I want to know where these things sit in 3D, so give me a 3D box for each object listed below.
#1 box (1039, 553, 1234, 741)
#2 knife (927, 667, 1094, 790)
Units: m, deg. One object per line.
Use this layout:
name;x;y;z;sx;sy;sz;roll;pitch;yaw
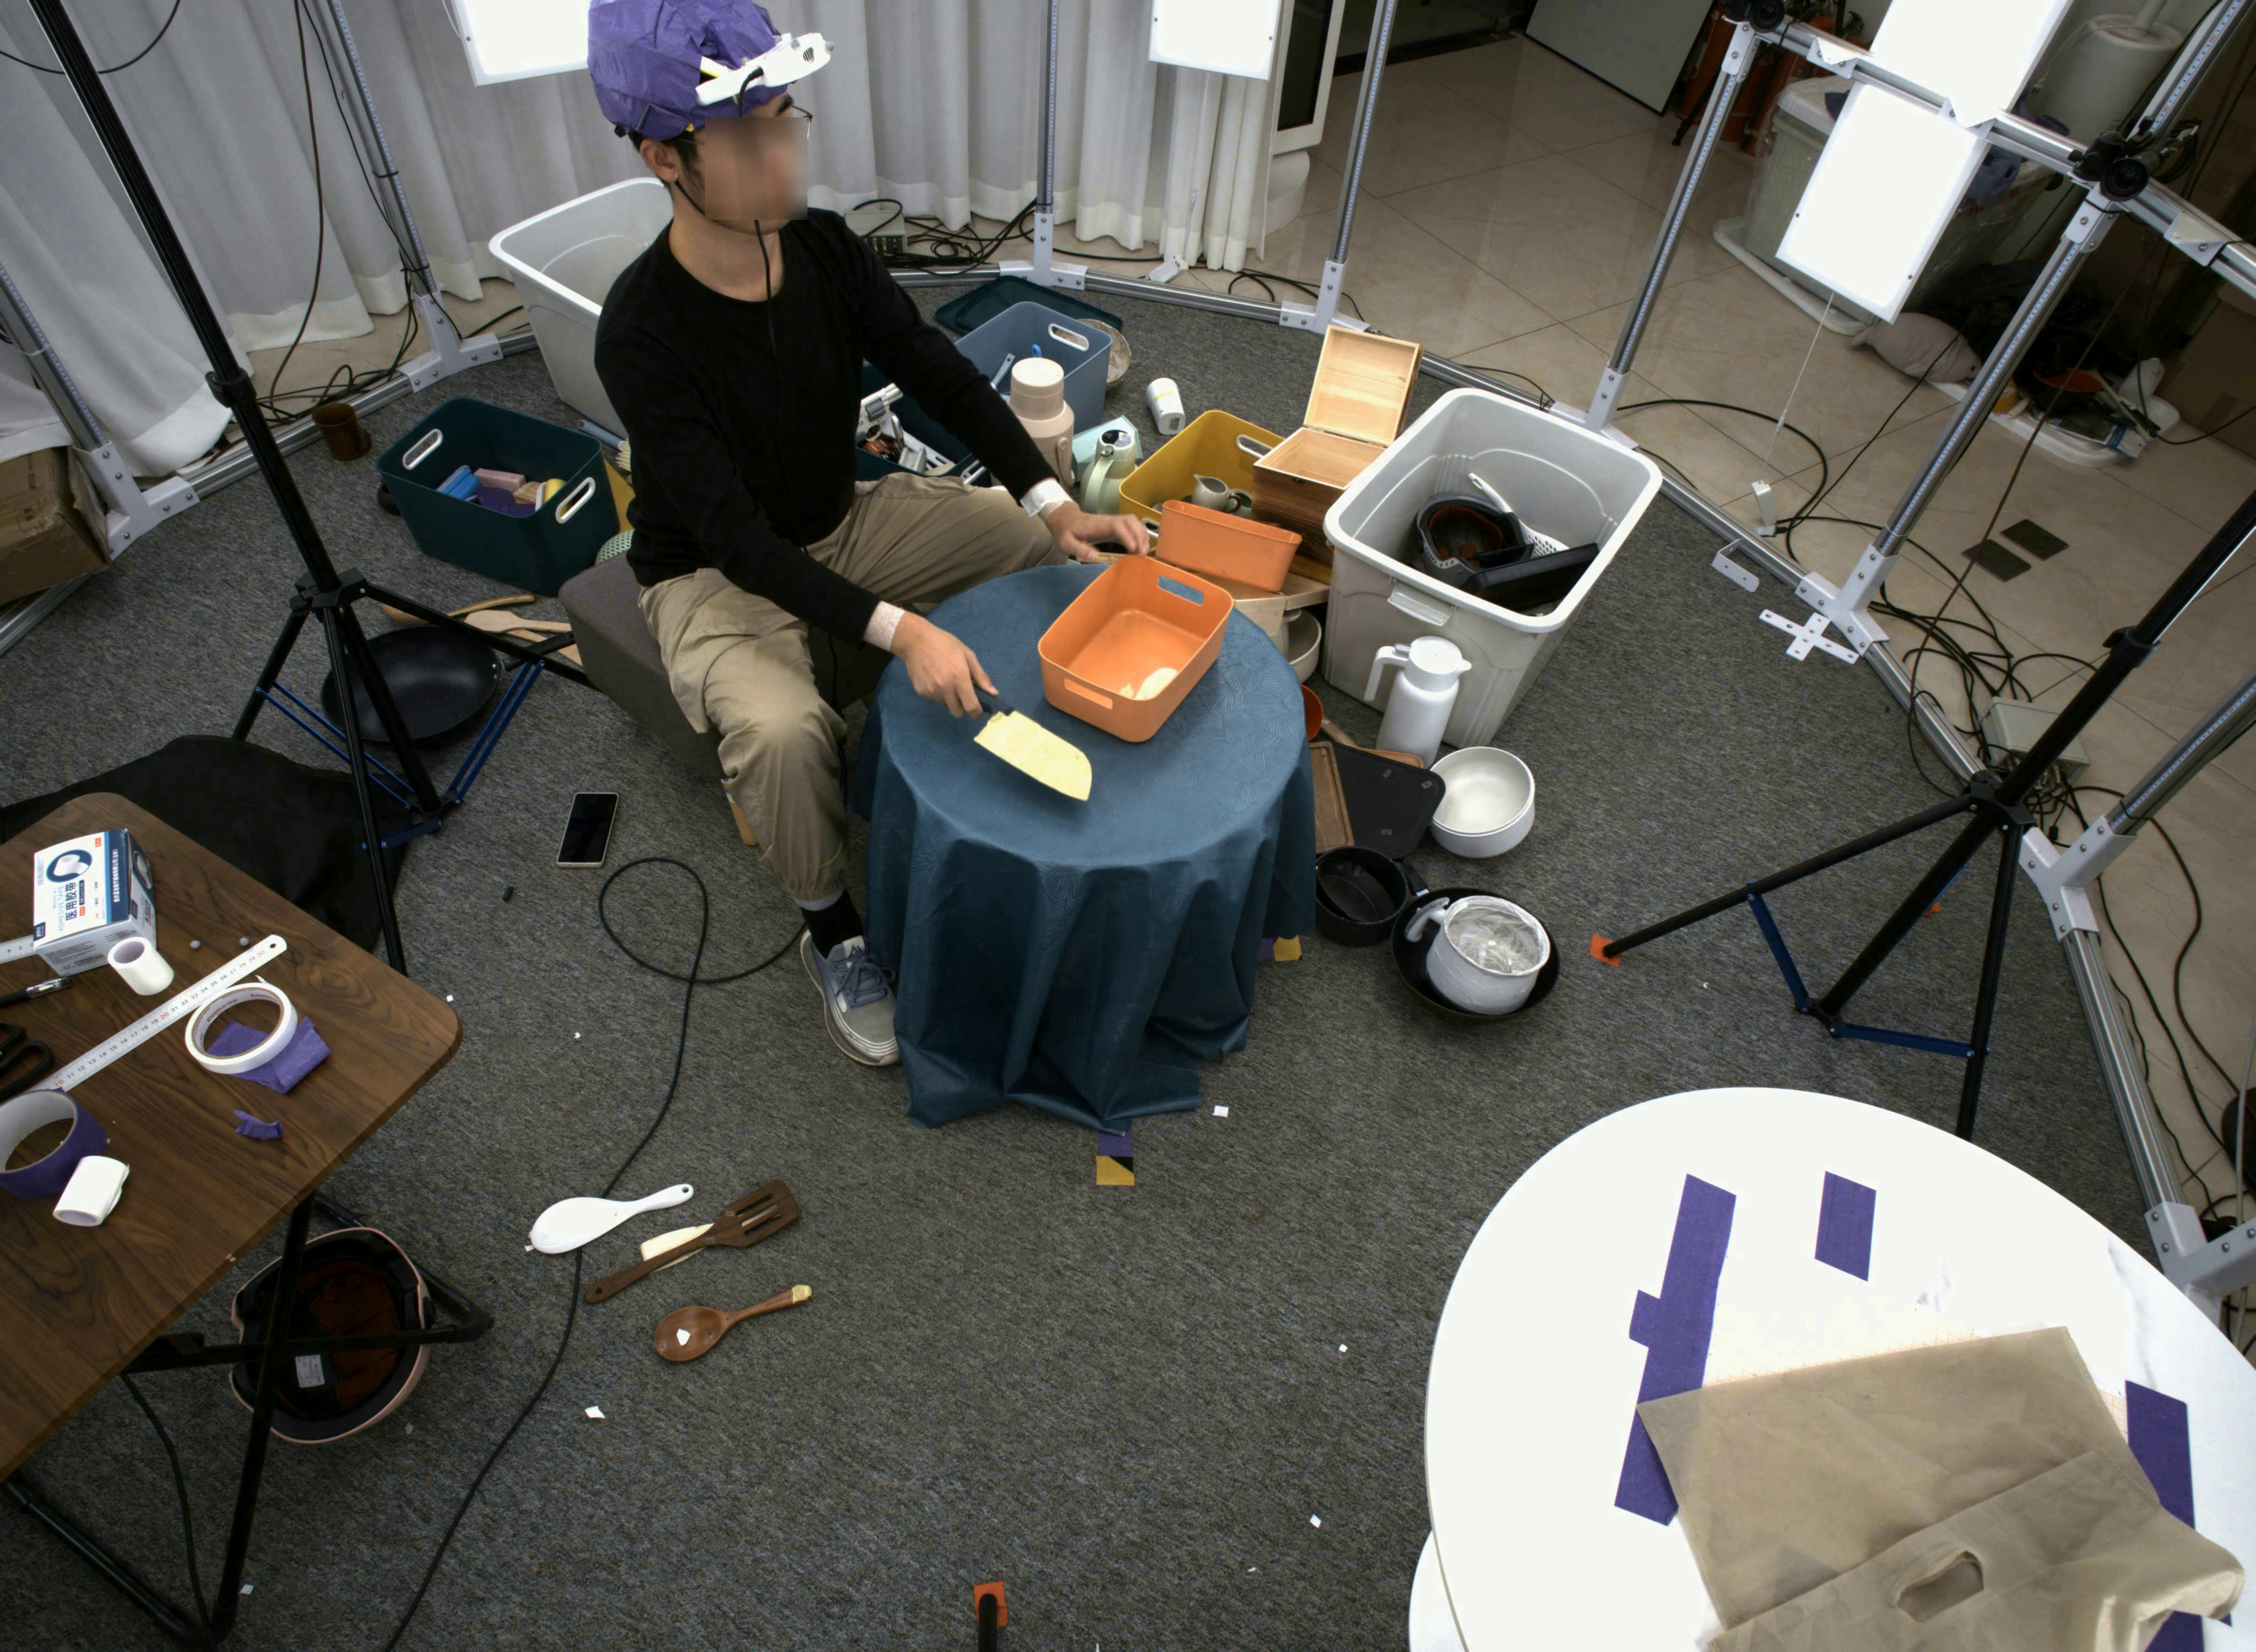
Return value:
box;0.010;-0.252;1.823;0.201;0.100;0.277;26;53;17
knife;-0.161;-0.129;1.699;0.292;0.026;0.082;33;56;19
